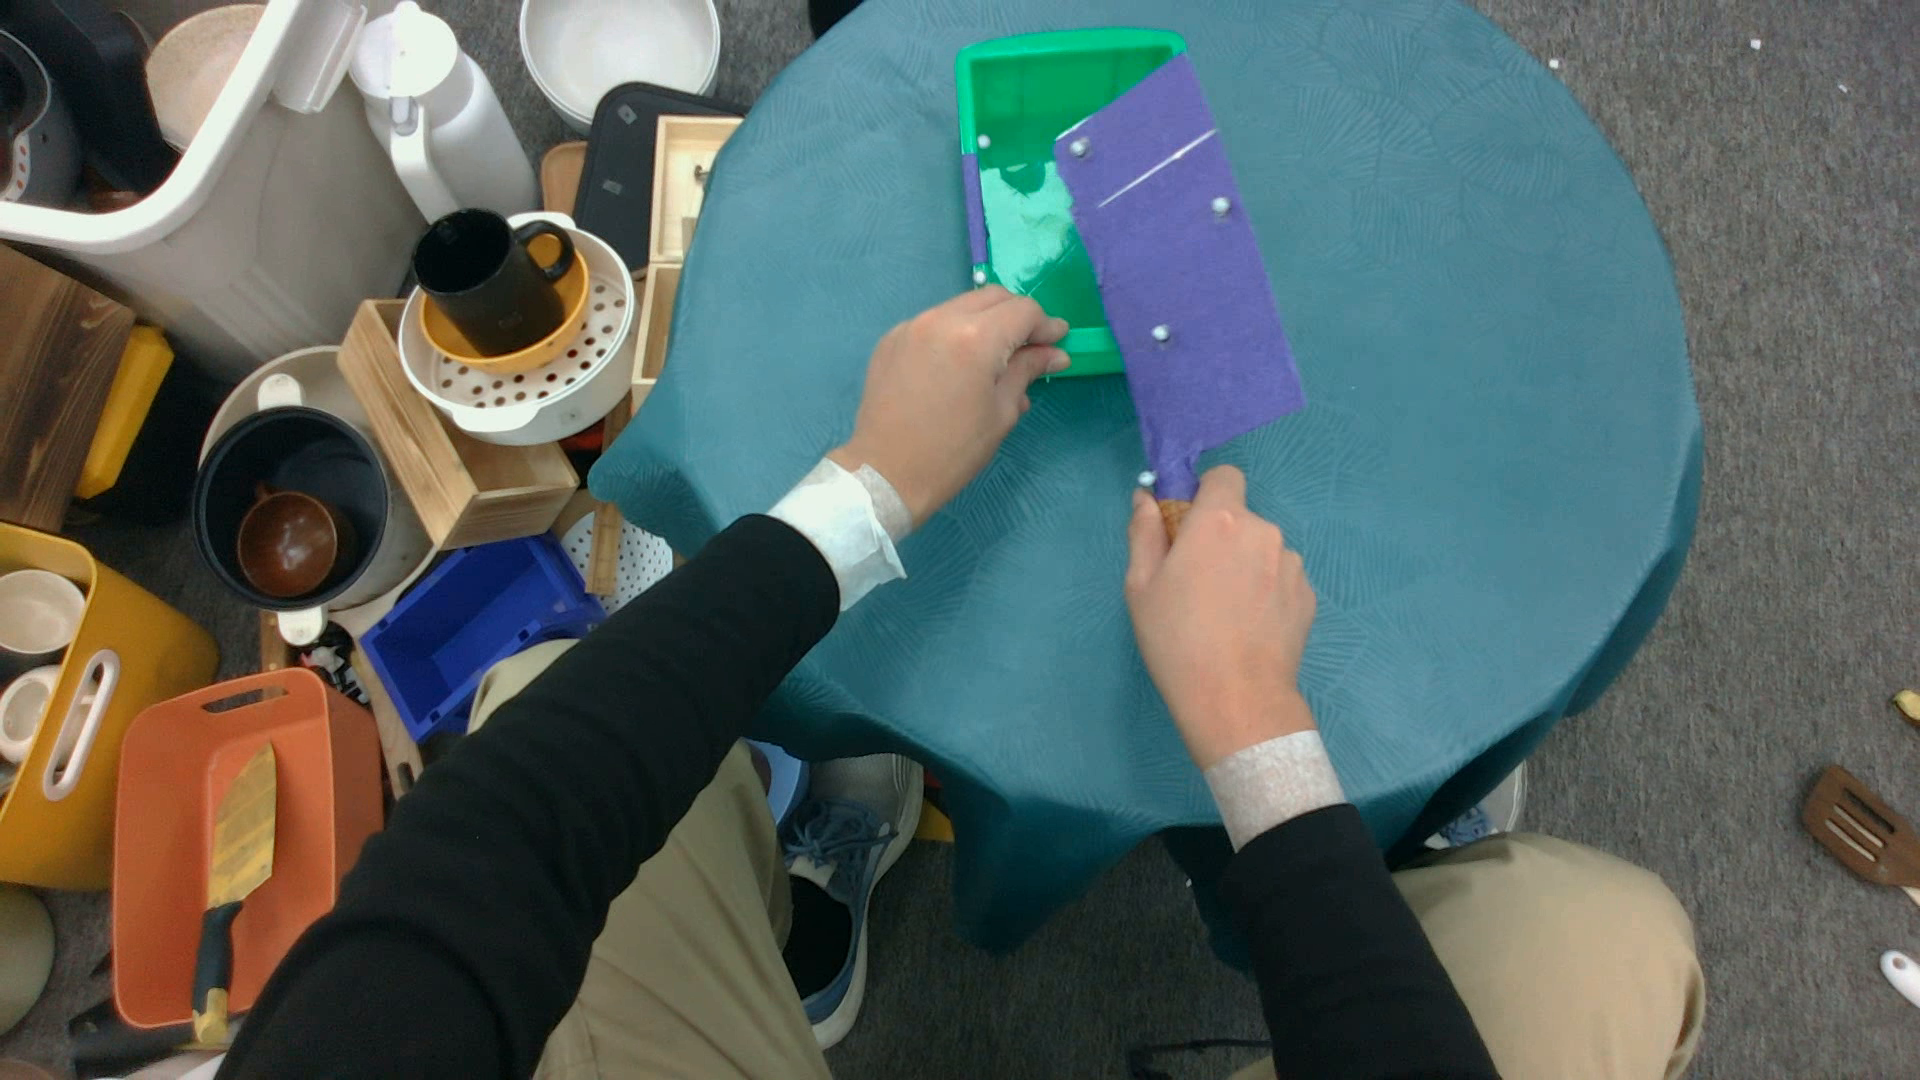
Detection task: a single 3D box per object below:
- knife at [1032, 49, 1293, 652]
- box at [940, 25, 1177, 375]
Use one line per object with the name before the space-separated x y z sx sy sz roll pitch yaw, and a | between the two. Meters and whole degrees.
knife | 0.115 -0.105 0.704 0.103 0.032 0.316 -24 72 32
box | 0.064 -0.196 0.811 0.138 0.065 0.211 -6 72 -1
